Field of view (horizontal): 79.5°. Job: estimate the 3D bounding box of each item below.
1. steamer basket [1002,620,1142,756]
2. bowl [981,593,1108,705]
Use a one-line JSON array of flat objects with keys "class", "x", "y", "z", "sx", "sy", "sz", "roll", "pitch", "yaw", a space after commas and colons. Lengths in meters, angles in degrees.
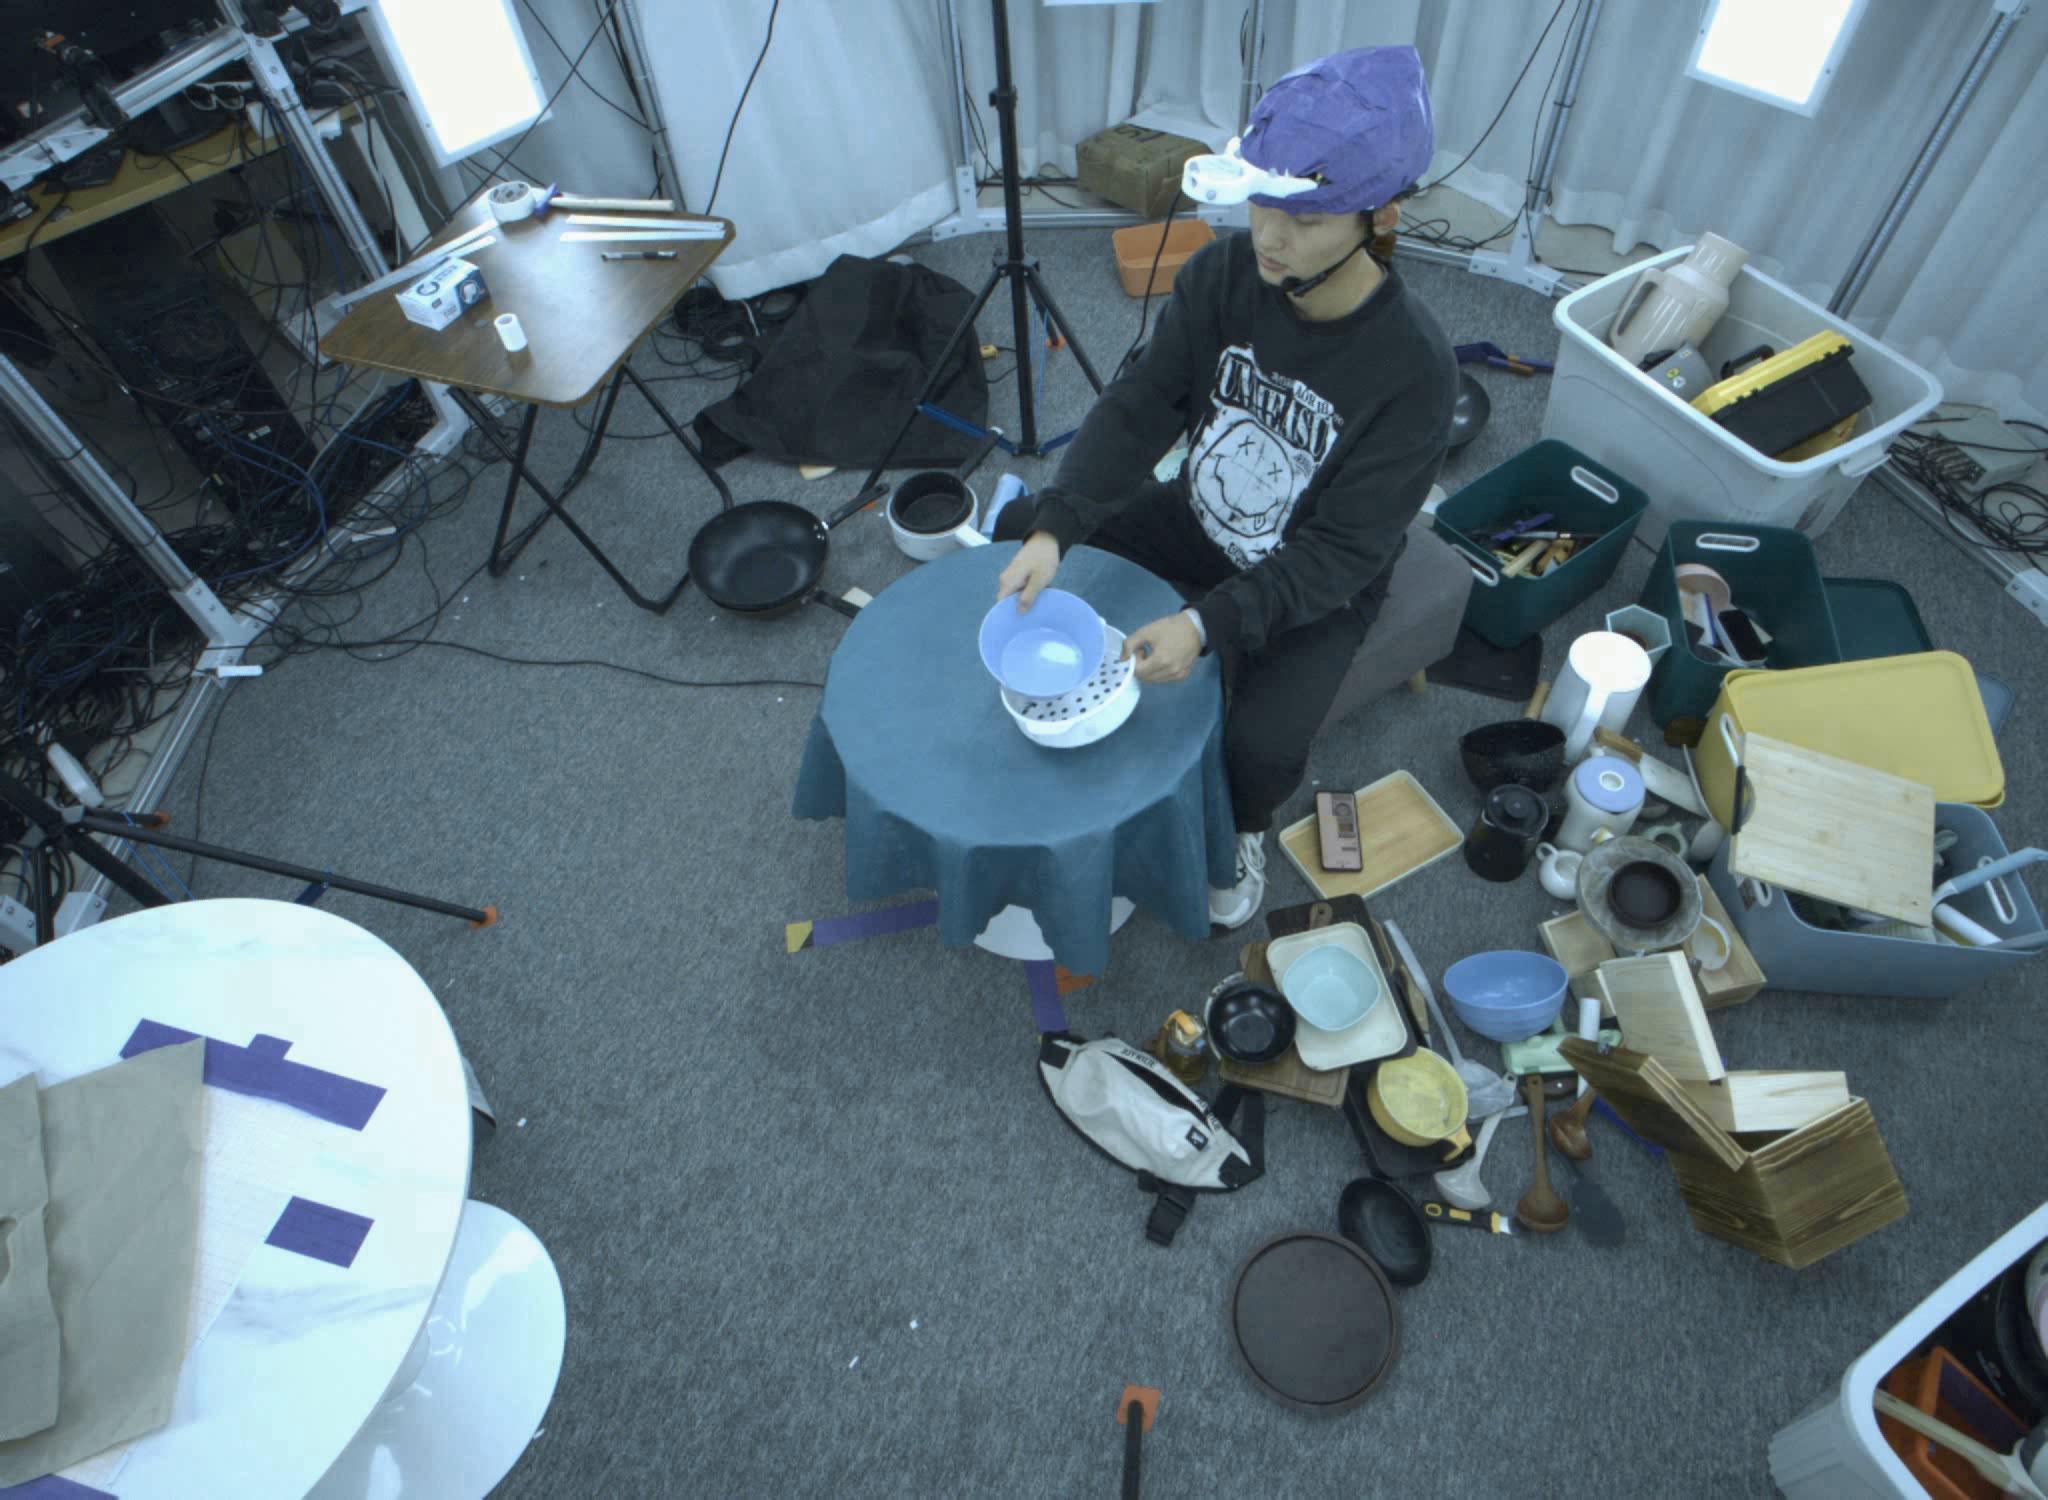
[{"class": "steamer basket", "x": 0.073, "y": -0.085, "z": 1.789, "sx": 0.199, "sy": 0.070, "sz": 0.229, "roll": 1, "pitch": 55, "yaw": 23}, {"class": "bowl", "x": 0.026, "y": -0.131, "z": 1.726, "sx": 0.176, "sy": 0.070, "sz": 0.174, "roll": 2, "pitch": 64, "yaw": -3}]
